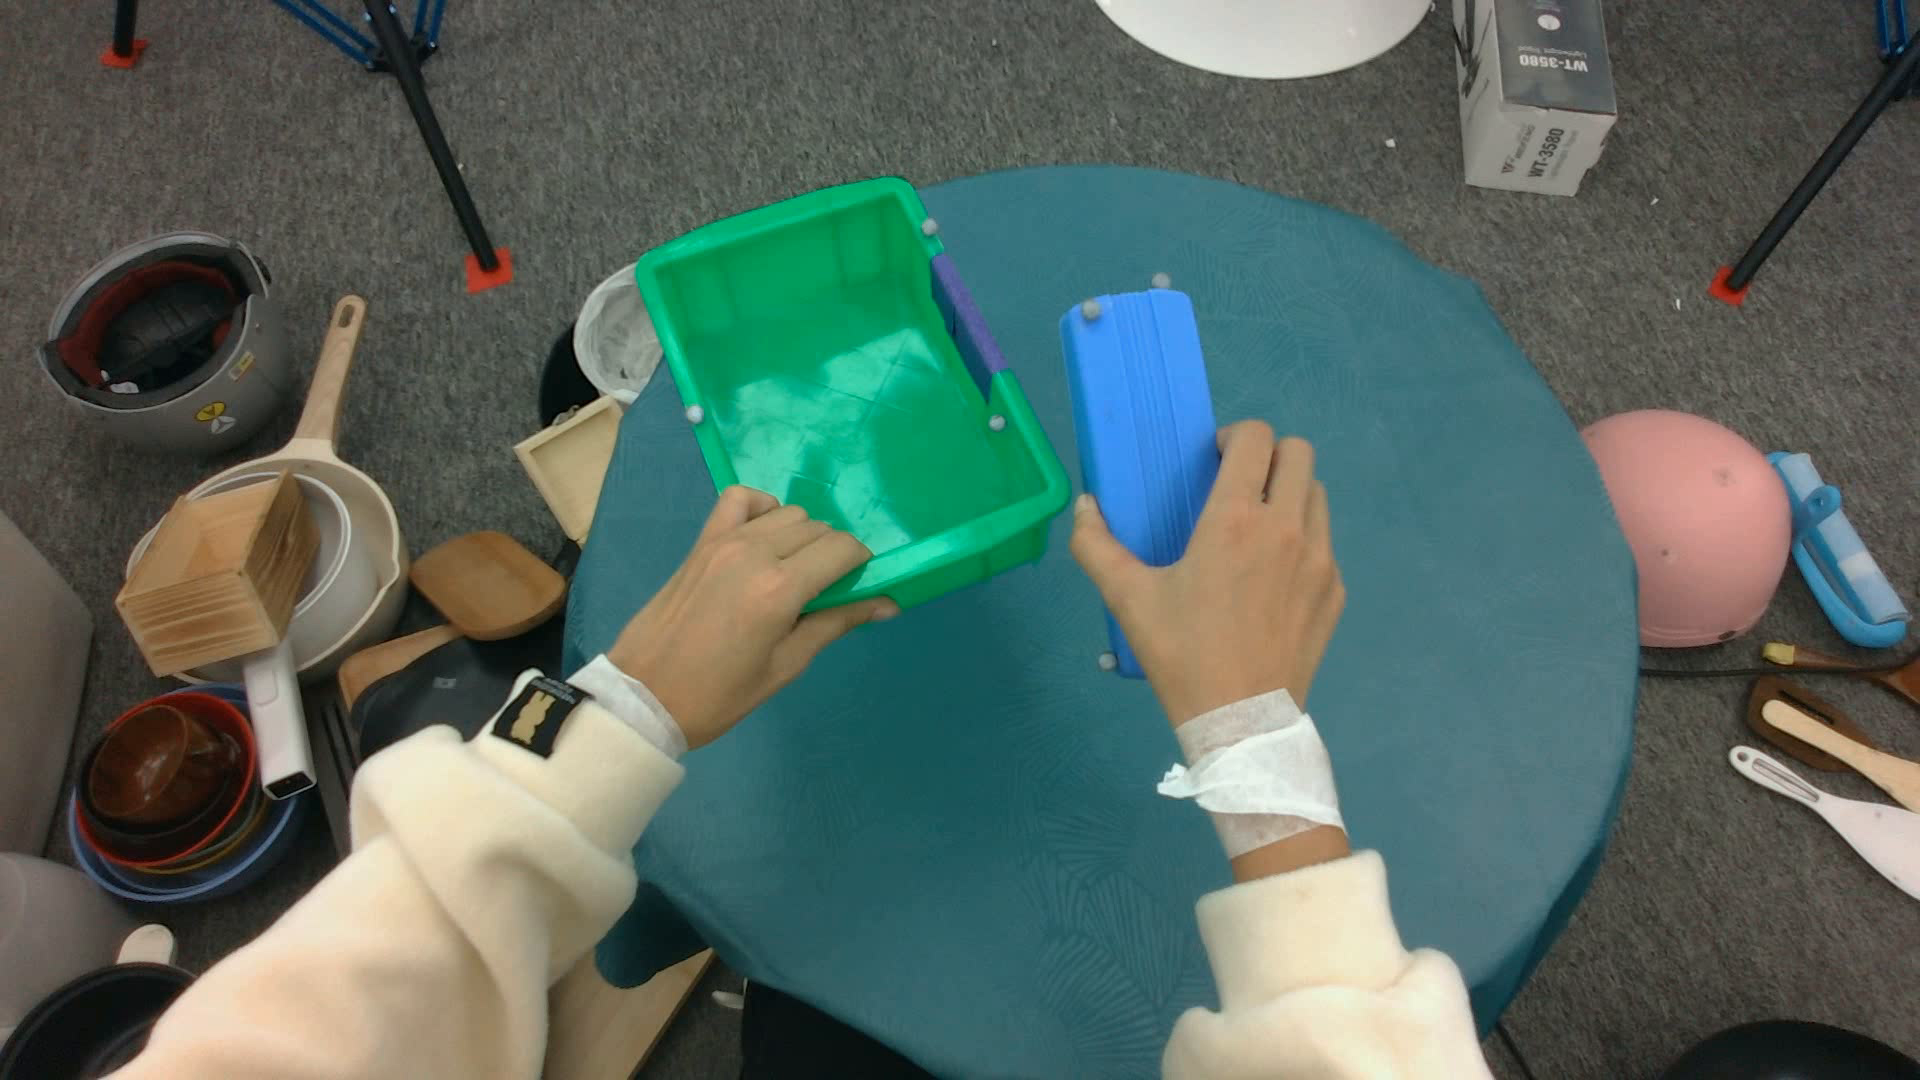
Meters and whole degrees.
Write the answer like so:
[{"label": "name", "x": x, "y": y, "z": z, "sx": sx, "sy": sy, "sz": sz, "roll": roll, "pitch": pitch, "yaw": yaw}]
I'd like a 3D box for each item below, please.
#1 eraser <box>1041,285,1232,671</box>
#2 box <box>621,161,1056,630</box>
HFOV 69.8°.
[{"label": "eraser", "x": 0.074, "y": -0.027, "z": 0.575, "sx": 0.054, "sy": 0.047, "sz": 0.162, "roll": -10, "pitch": 85, "yaw": -4}, {"label": "box", "x": -0.057, "y": -0.066, "z": 0.625, "sx": 0.139, "sy": 0.065, "sz": 0.211, "roll": -21, "pitch": 61, "yaw": -10}]
